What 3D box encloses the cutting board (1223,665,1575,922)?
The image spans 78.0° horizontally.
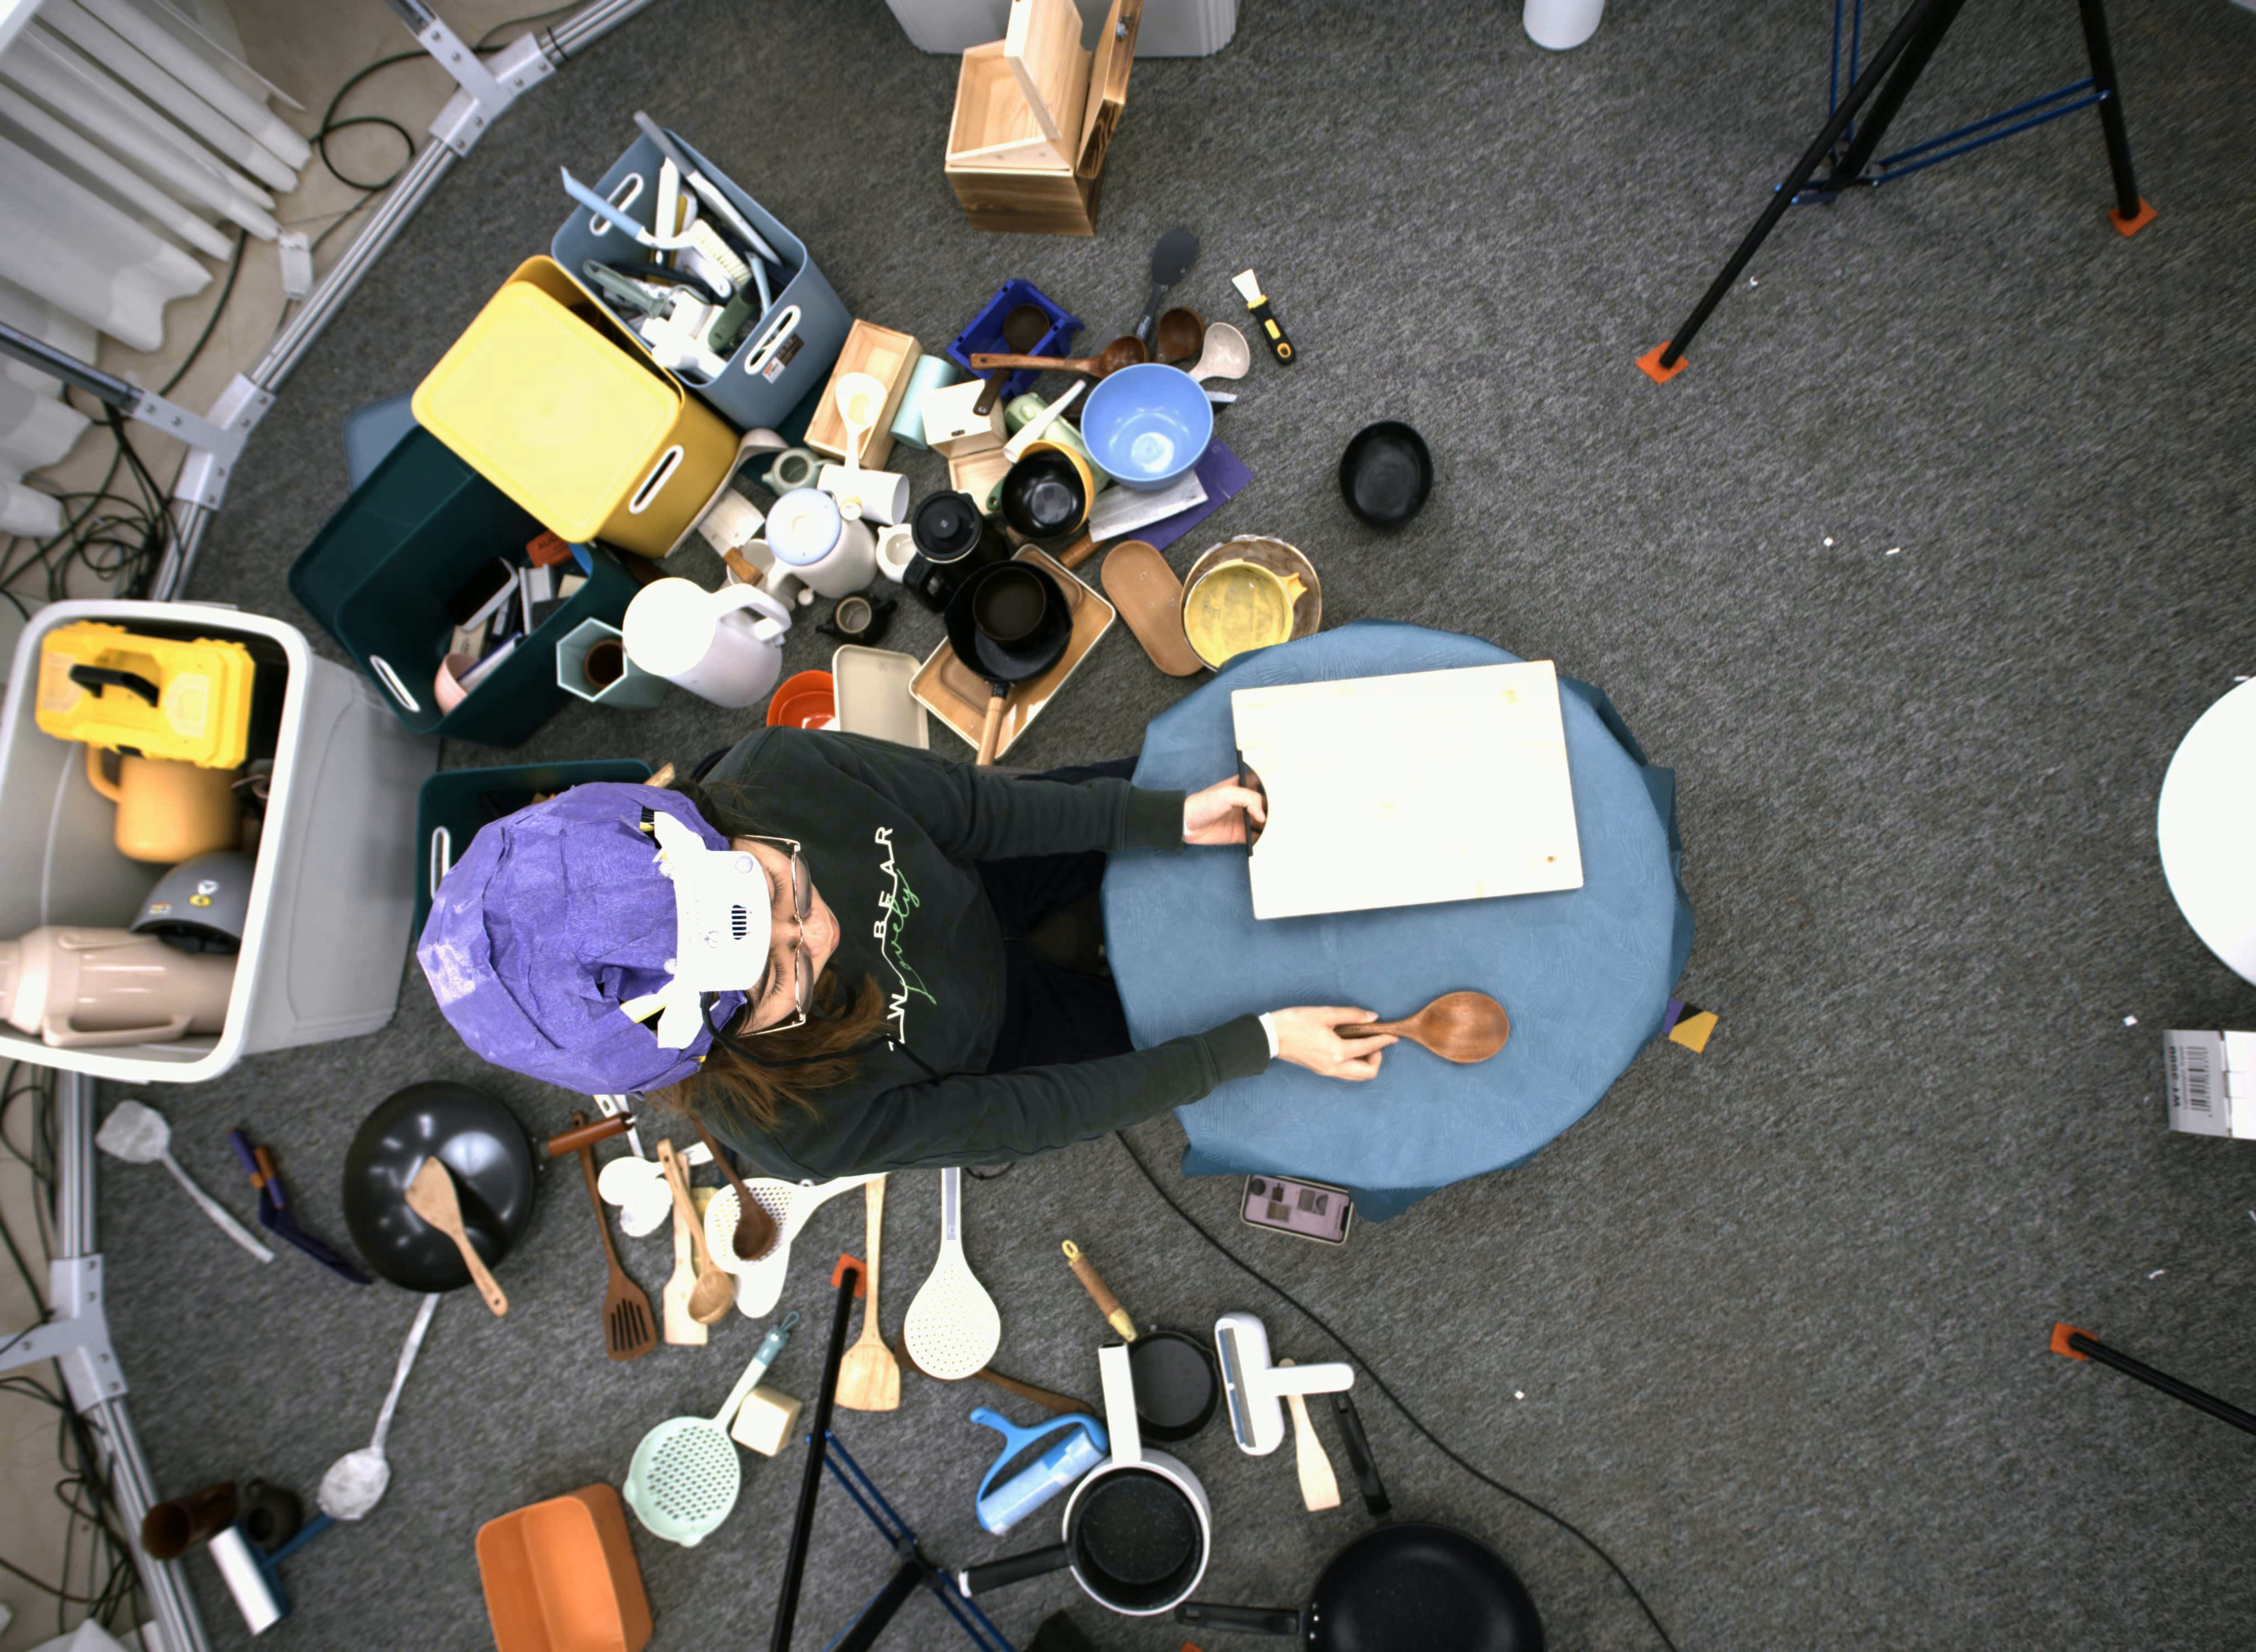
[{"bbox_3d":[0.283,-0.036,1.436,0.349,0.024,0.249,-7,84,1],"label":"cutting board"}]

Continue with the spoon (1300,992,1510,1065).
[{"bbox_3d":[0.287,0.210,1.438,0.216,0.017,0.075,-3,87,6],"label":"spoon"}]
